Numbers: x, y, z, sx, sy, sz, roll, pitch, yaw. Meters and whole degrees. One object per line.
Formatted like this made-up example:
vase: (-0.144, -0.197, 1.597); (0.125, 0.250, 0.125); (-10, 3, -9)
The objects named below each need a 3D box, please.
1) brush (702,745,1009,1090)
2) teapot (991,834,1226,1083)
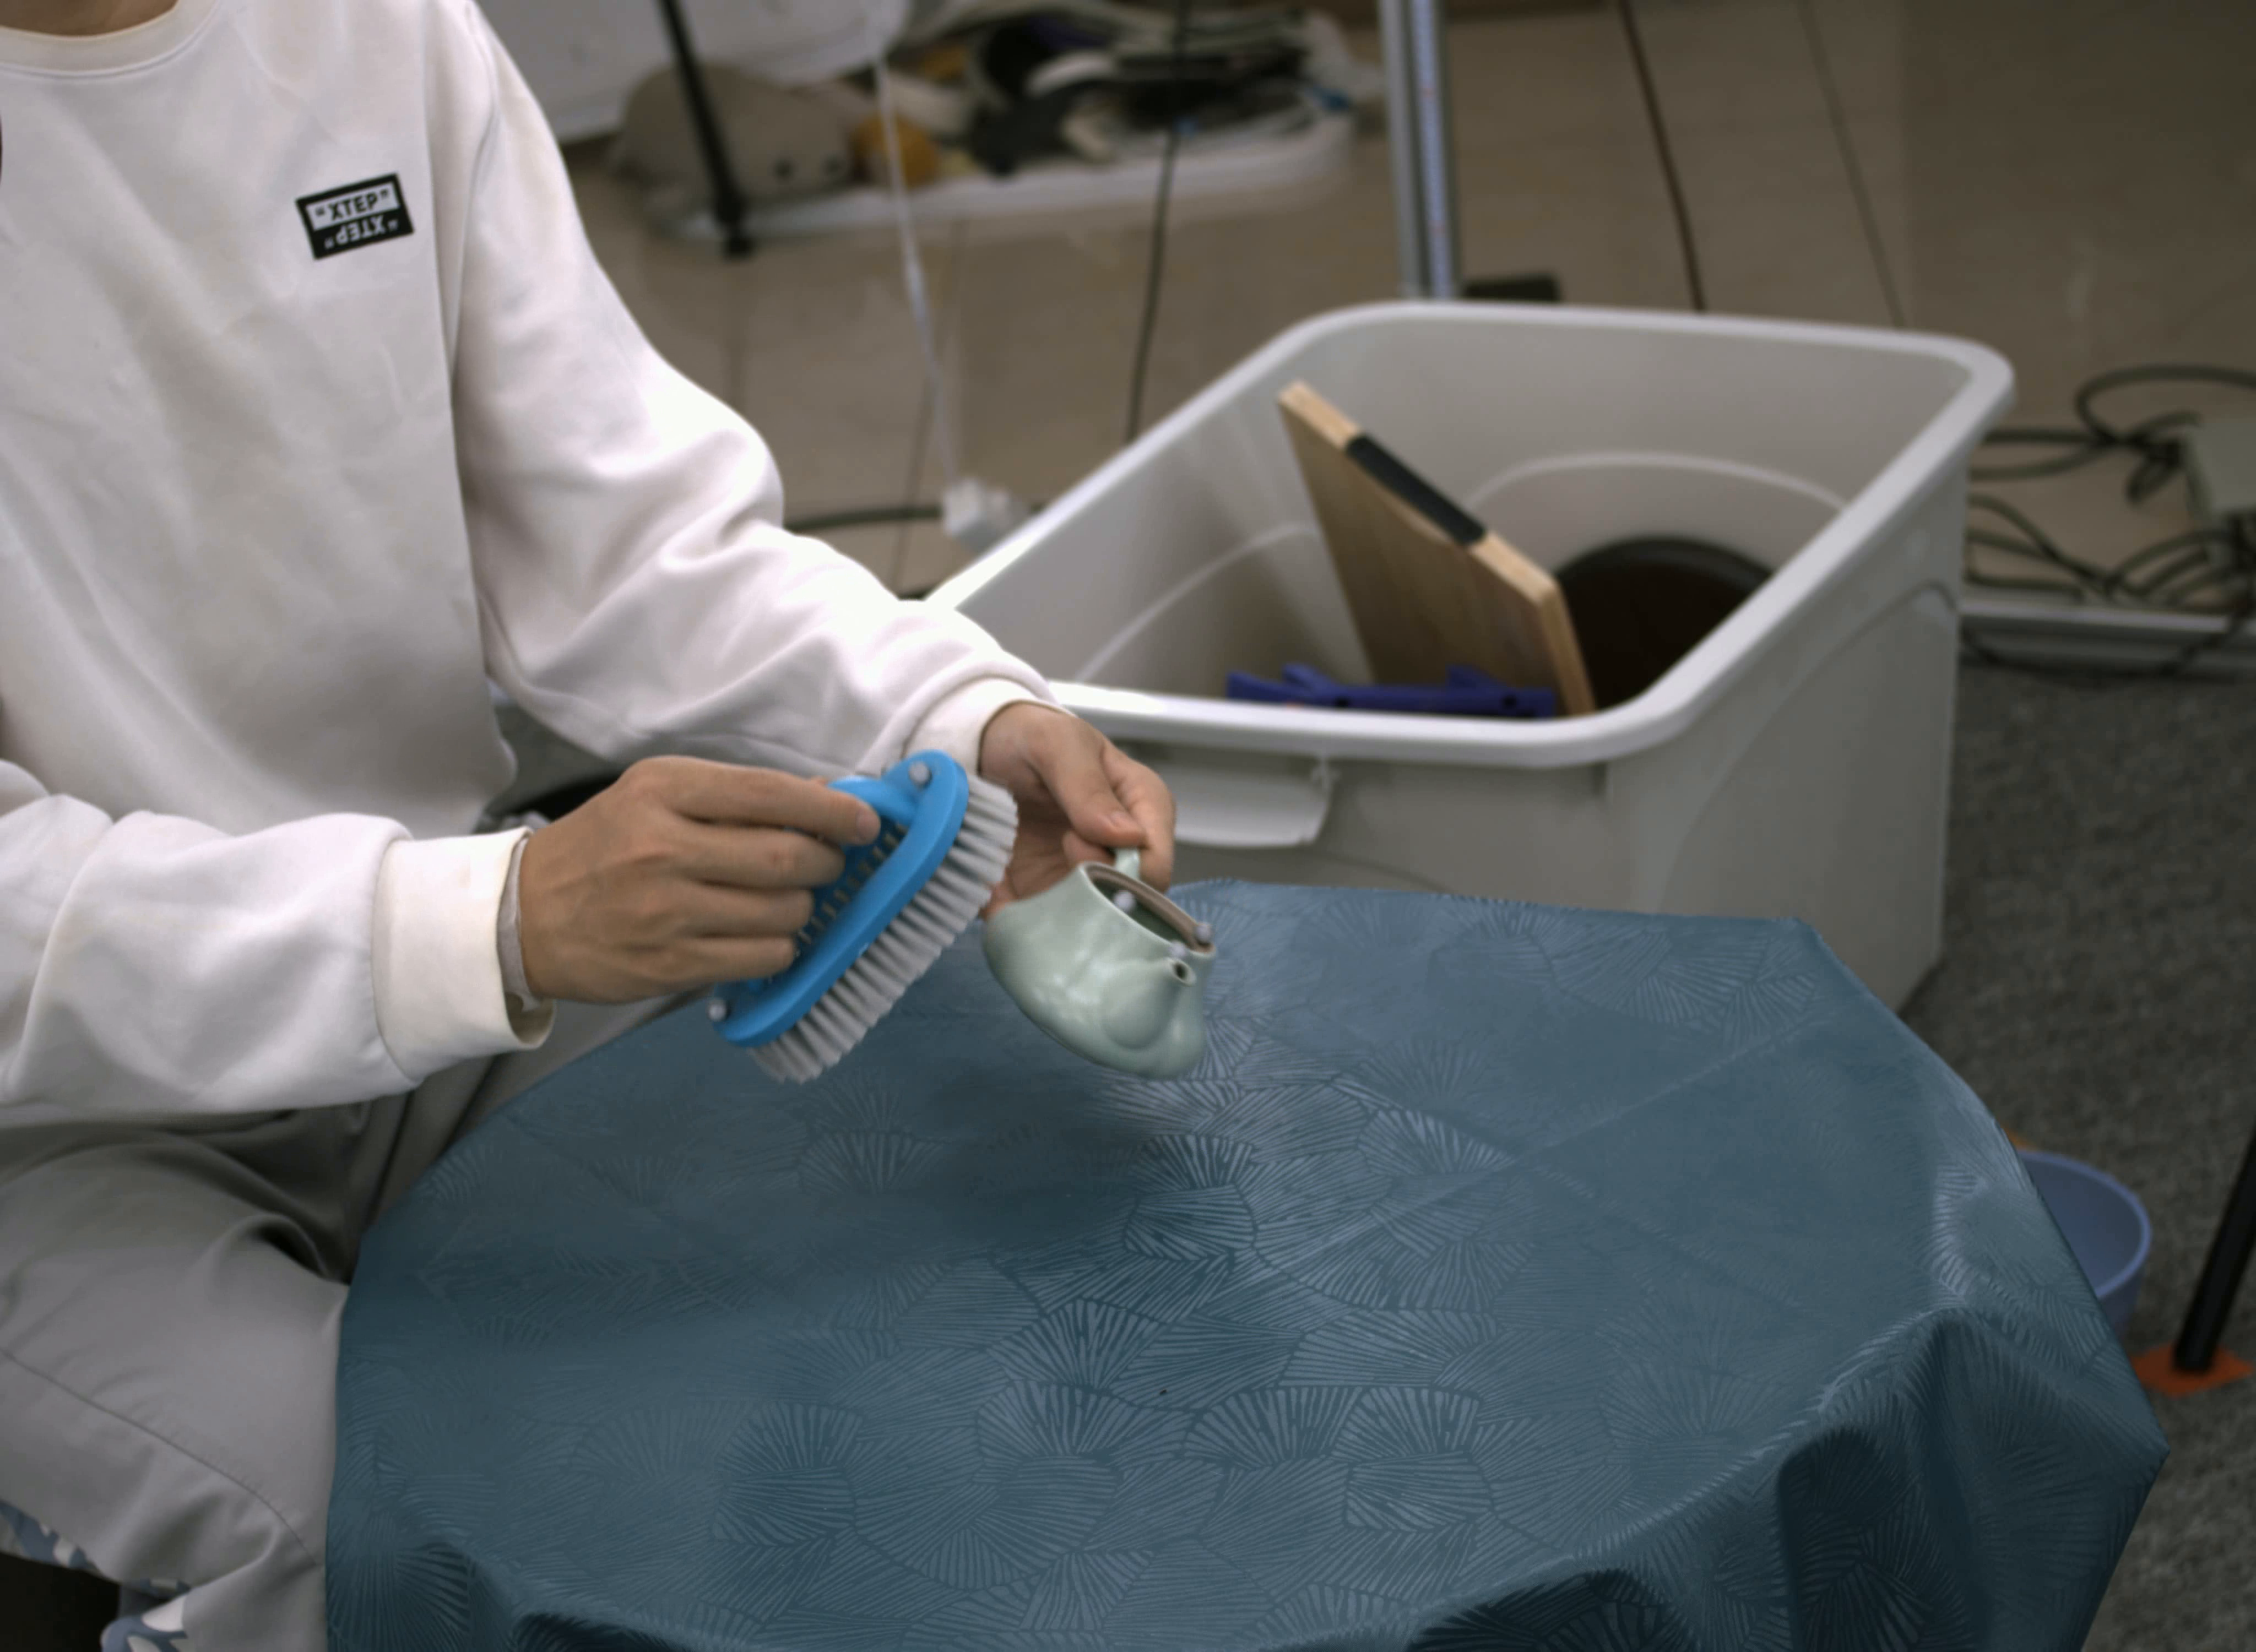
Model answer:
brush: (-0.111, 0.029, 2.099); (0.142, 0.064, 0.083); (-48, 34, 13)
teapot: (-0.003, 0.053, 2.155); (0.097, 0.062, 0.135); (24, 18, -24)
